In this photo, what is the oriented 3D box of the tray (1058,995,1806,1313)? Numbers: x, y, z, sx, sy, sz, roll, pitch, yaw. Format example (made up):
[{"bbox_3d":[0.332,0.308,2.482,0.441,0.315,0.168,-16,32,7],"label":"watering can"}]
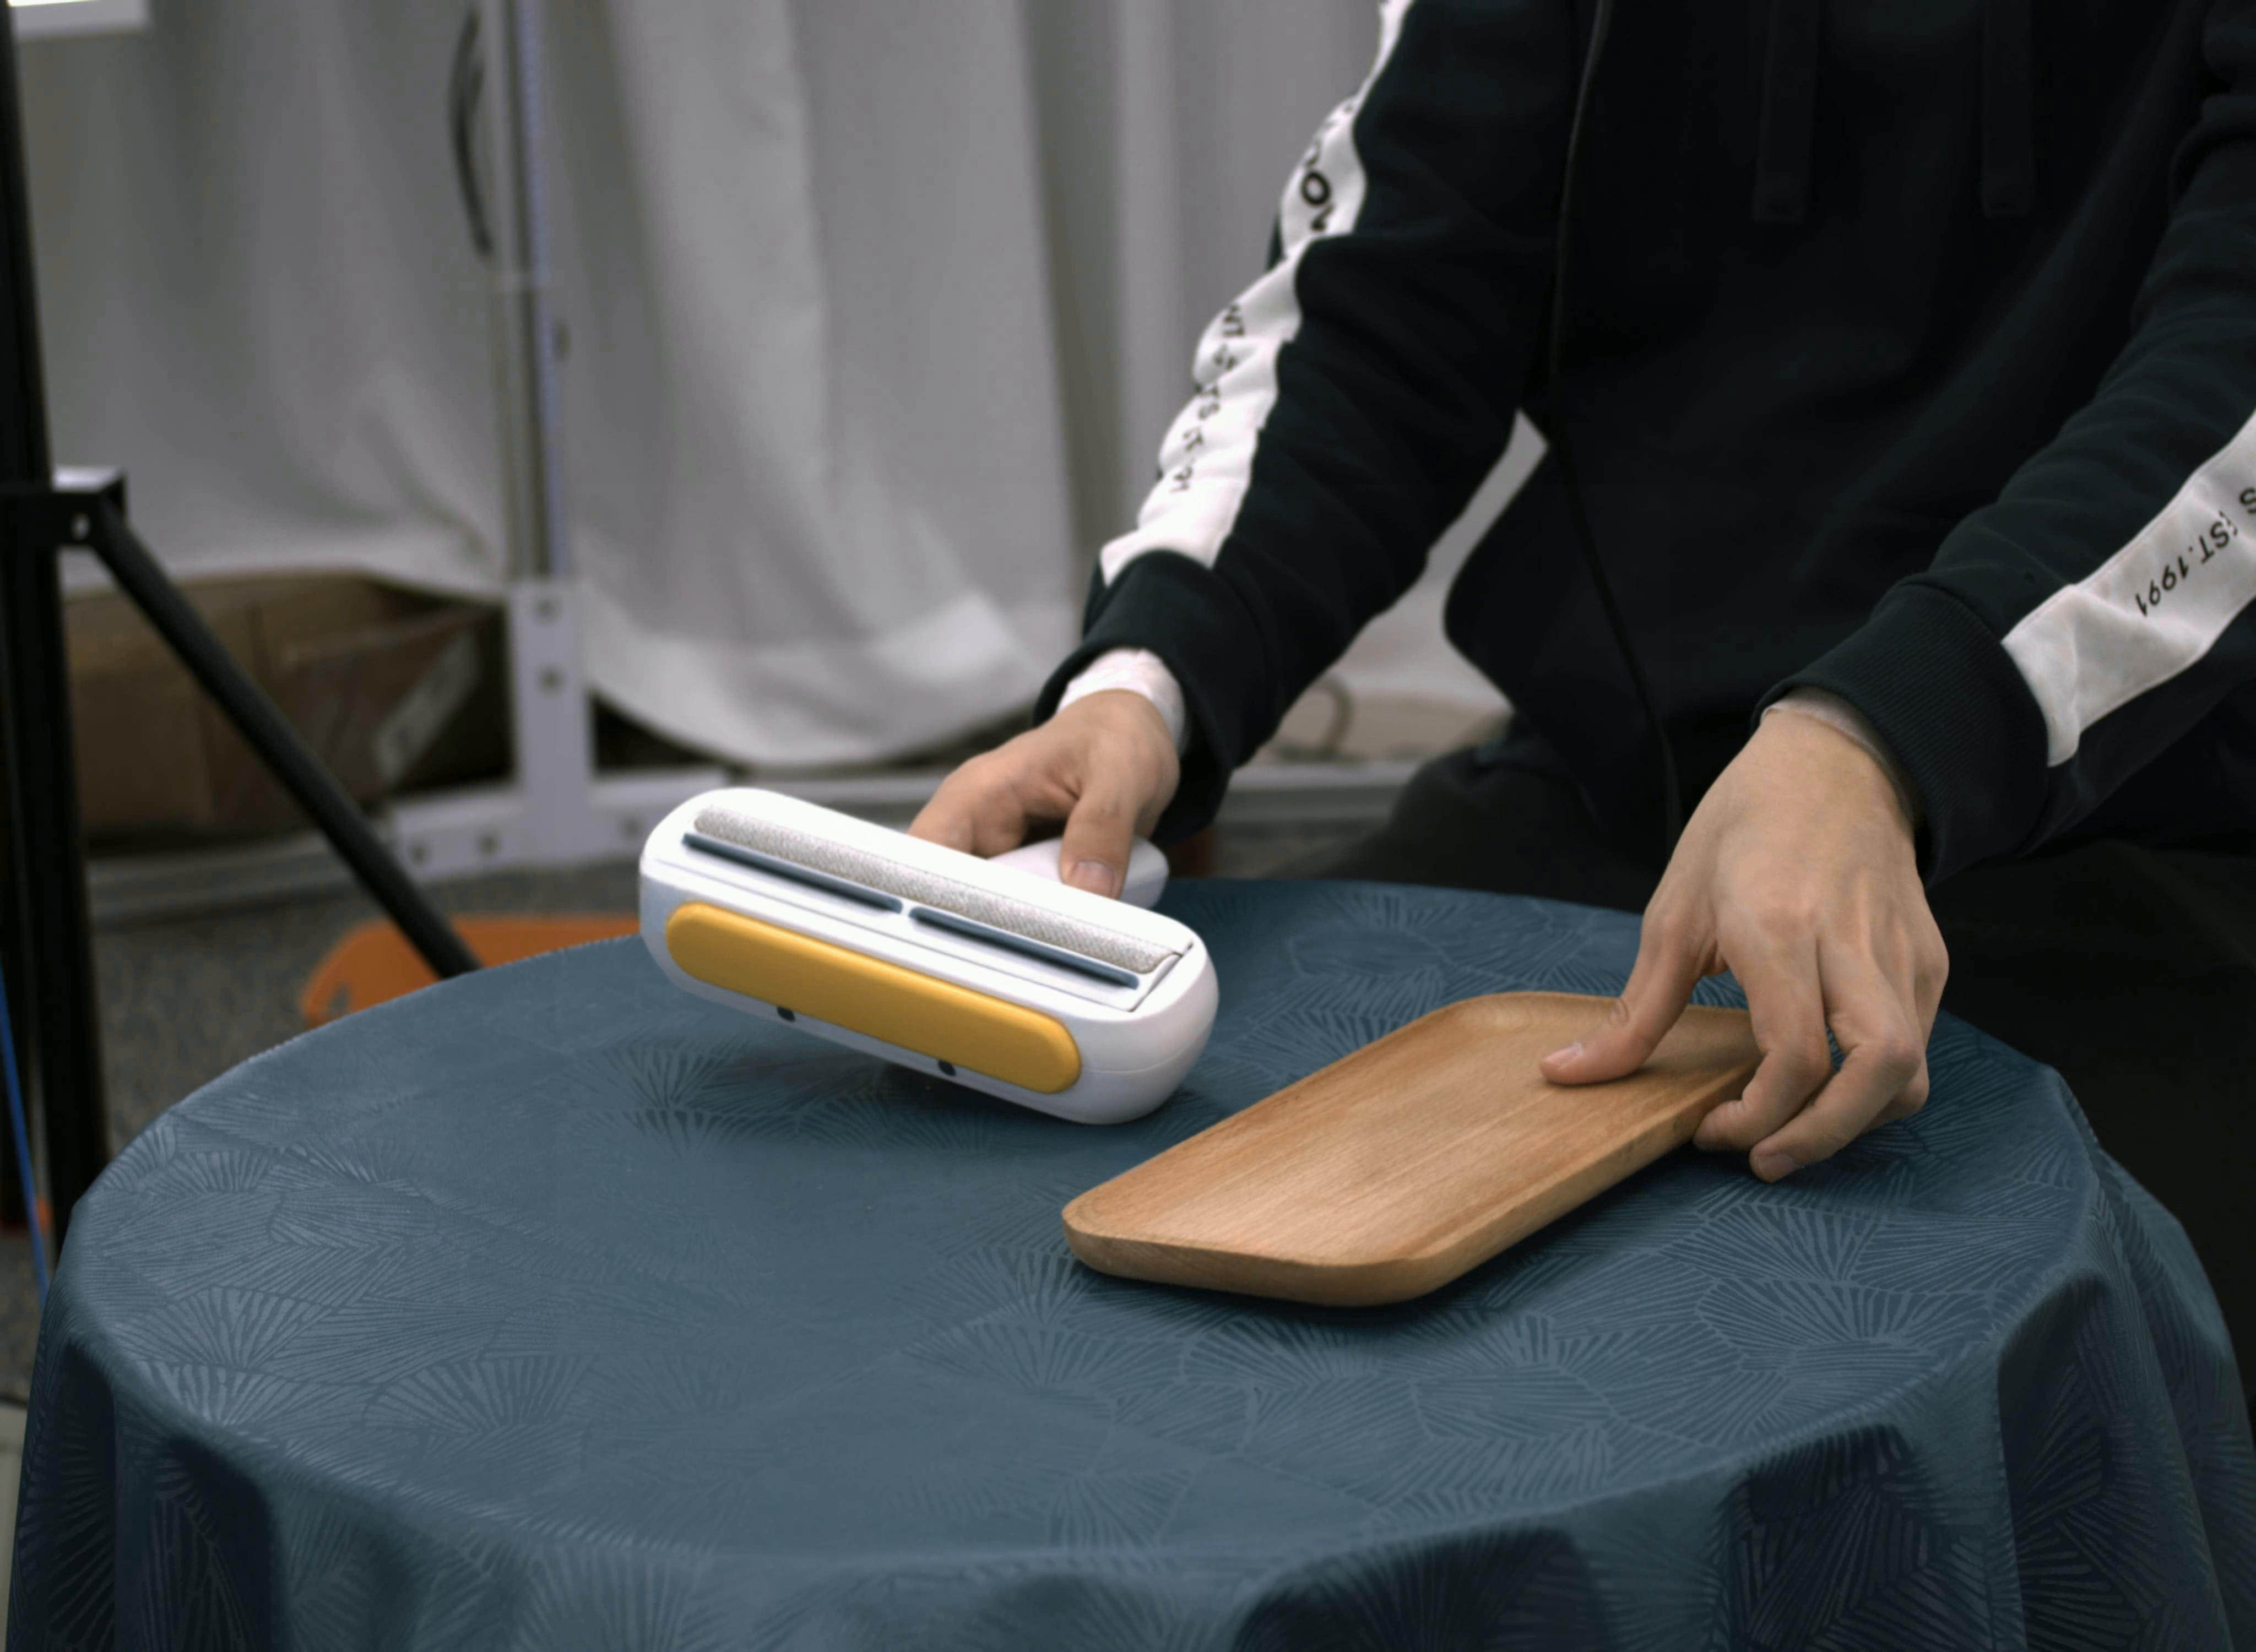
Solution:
[{"bbox_3d":[0.093,0.094,1.553,0.133,0.023,0.245,8,18,36],"label":"tray"}]

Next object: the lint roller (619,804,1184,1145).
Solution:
[{"bbox_3d":[-0.043,0.044,1.709,0.196,0.074,0.188,17,16,29],"label":"lint roller"}]
